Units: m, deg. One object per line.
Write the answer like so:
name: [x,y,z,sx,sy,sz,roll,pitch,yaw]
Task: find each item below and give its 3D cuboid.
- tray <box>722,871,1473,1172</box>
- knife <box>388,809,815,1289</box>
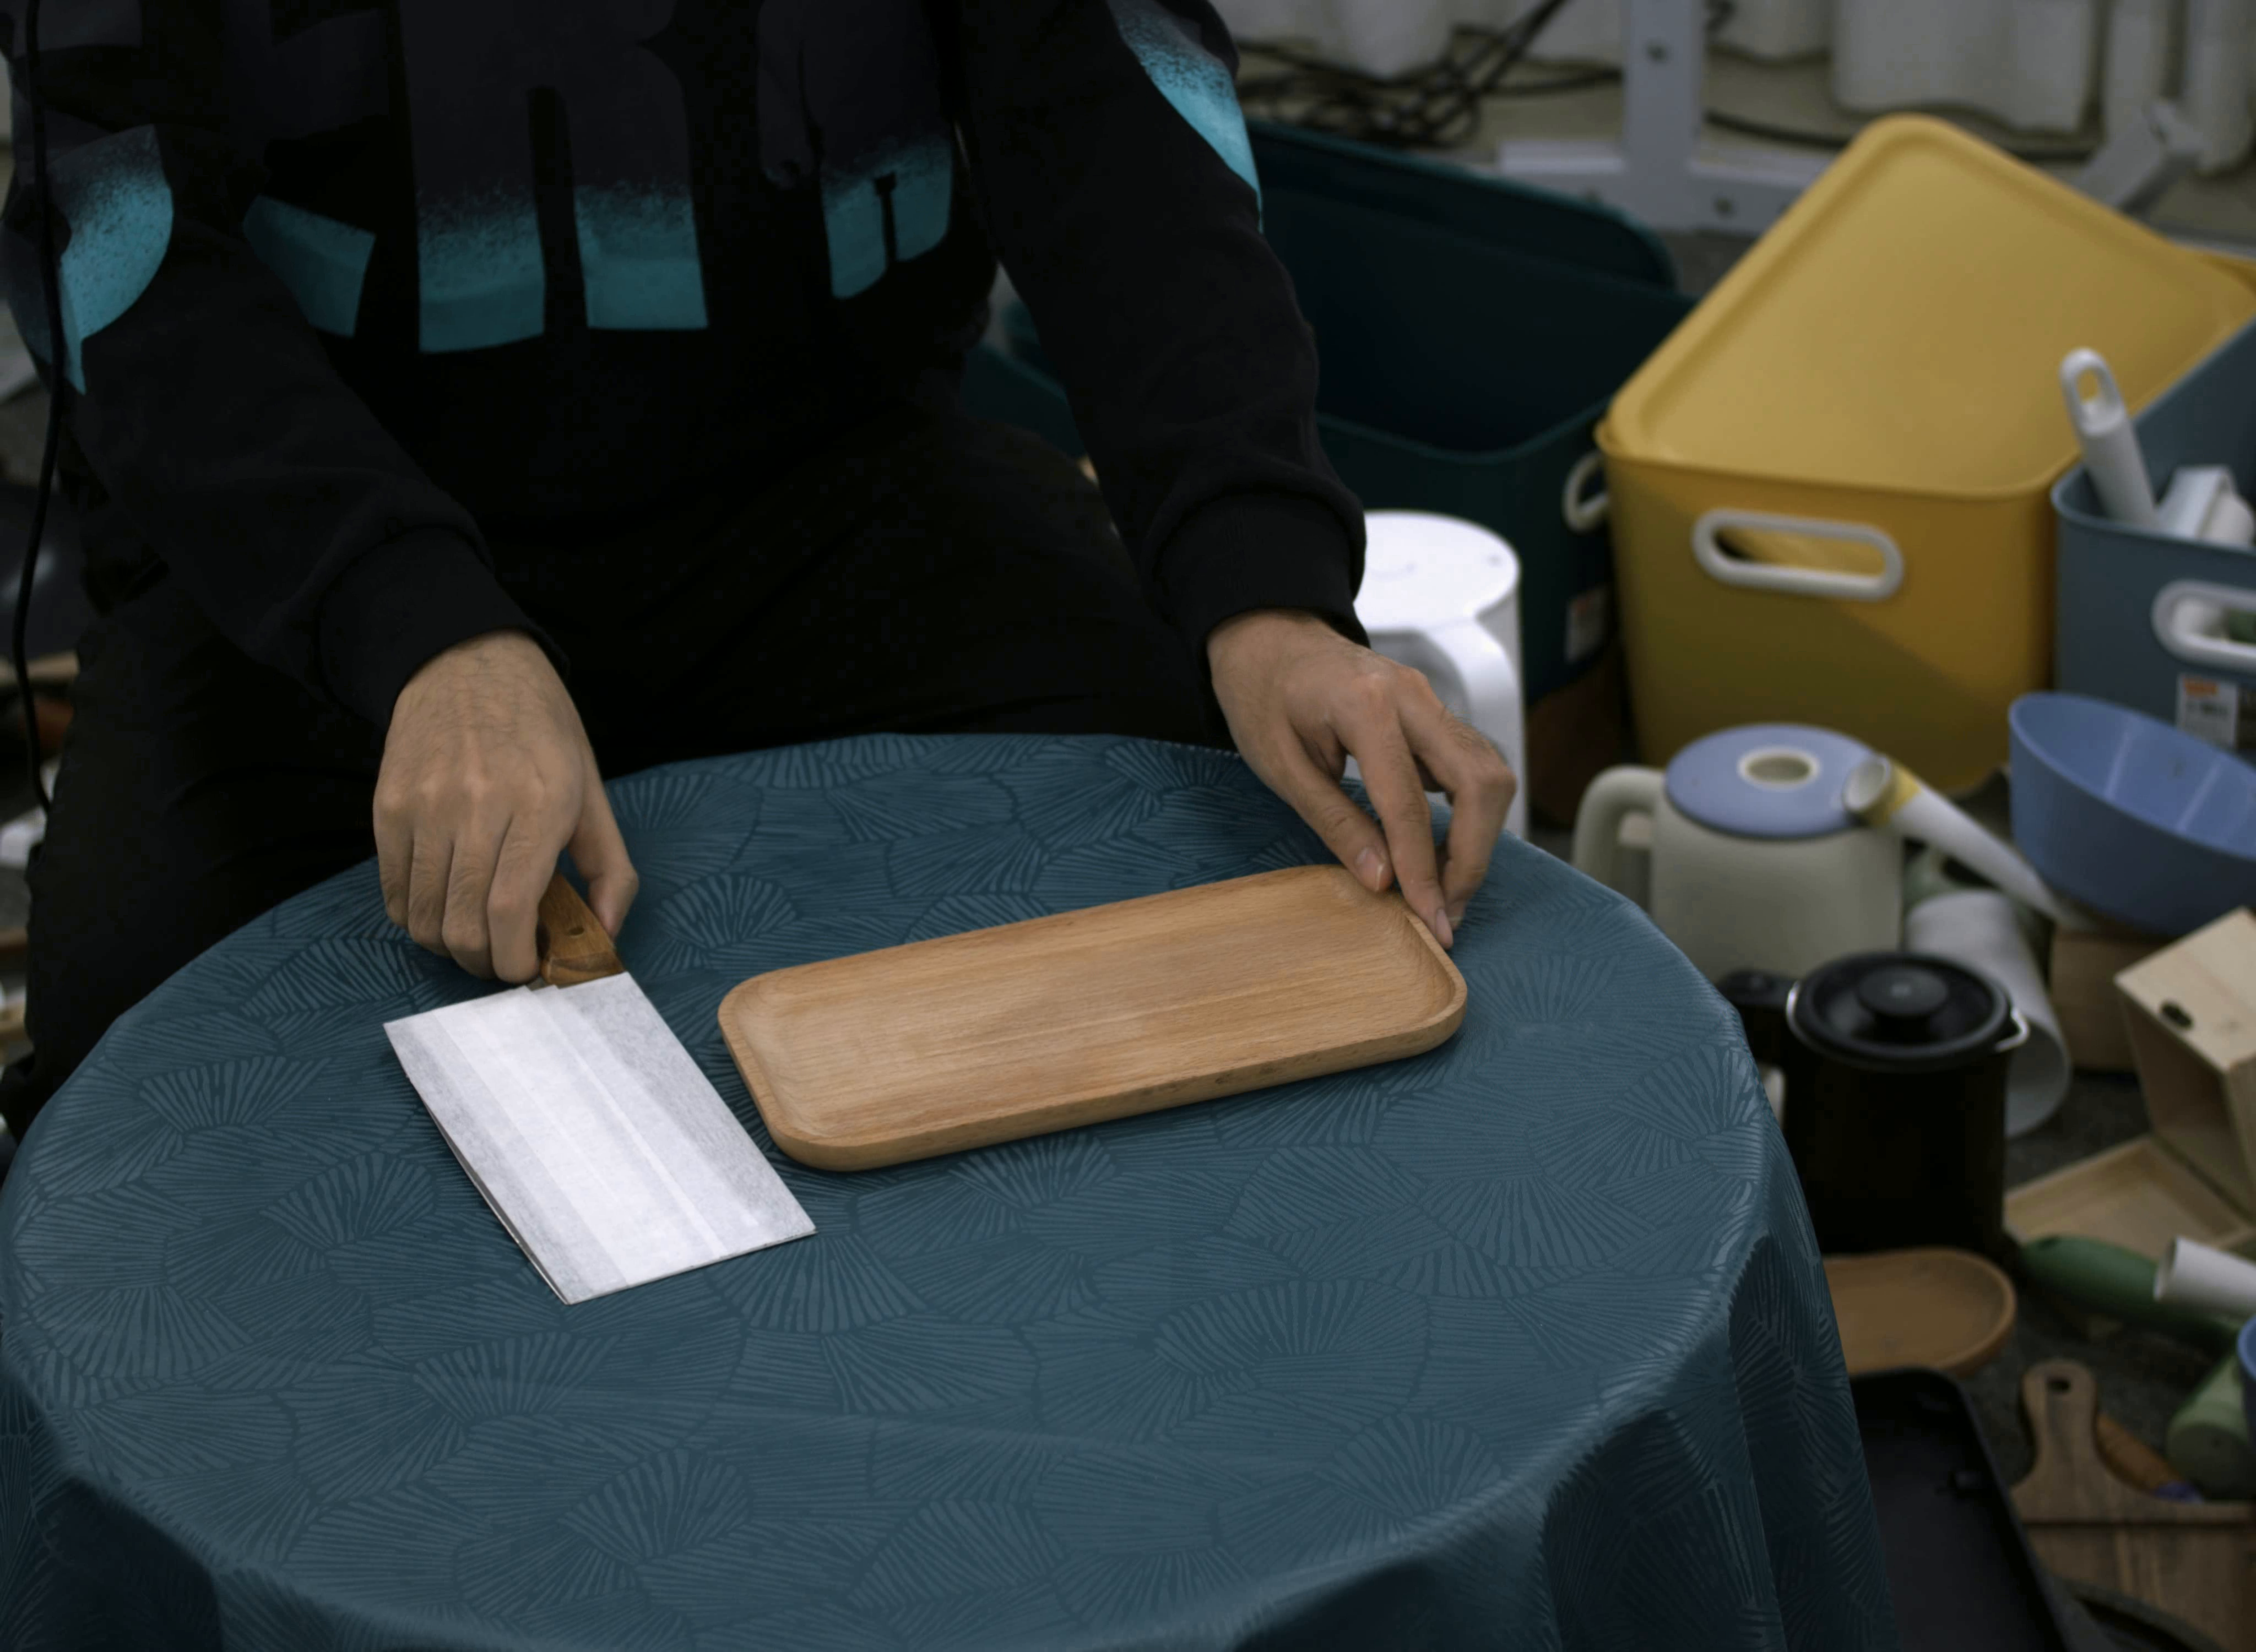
tray: [-0.011,0.067,1.951,0.251,0.022,0.132,-9,30,-14]
knife: [-0.203,0.077,1.951,0.093,0.021,0.308,-15,32,-20]
